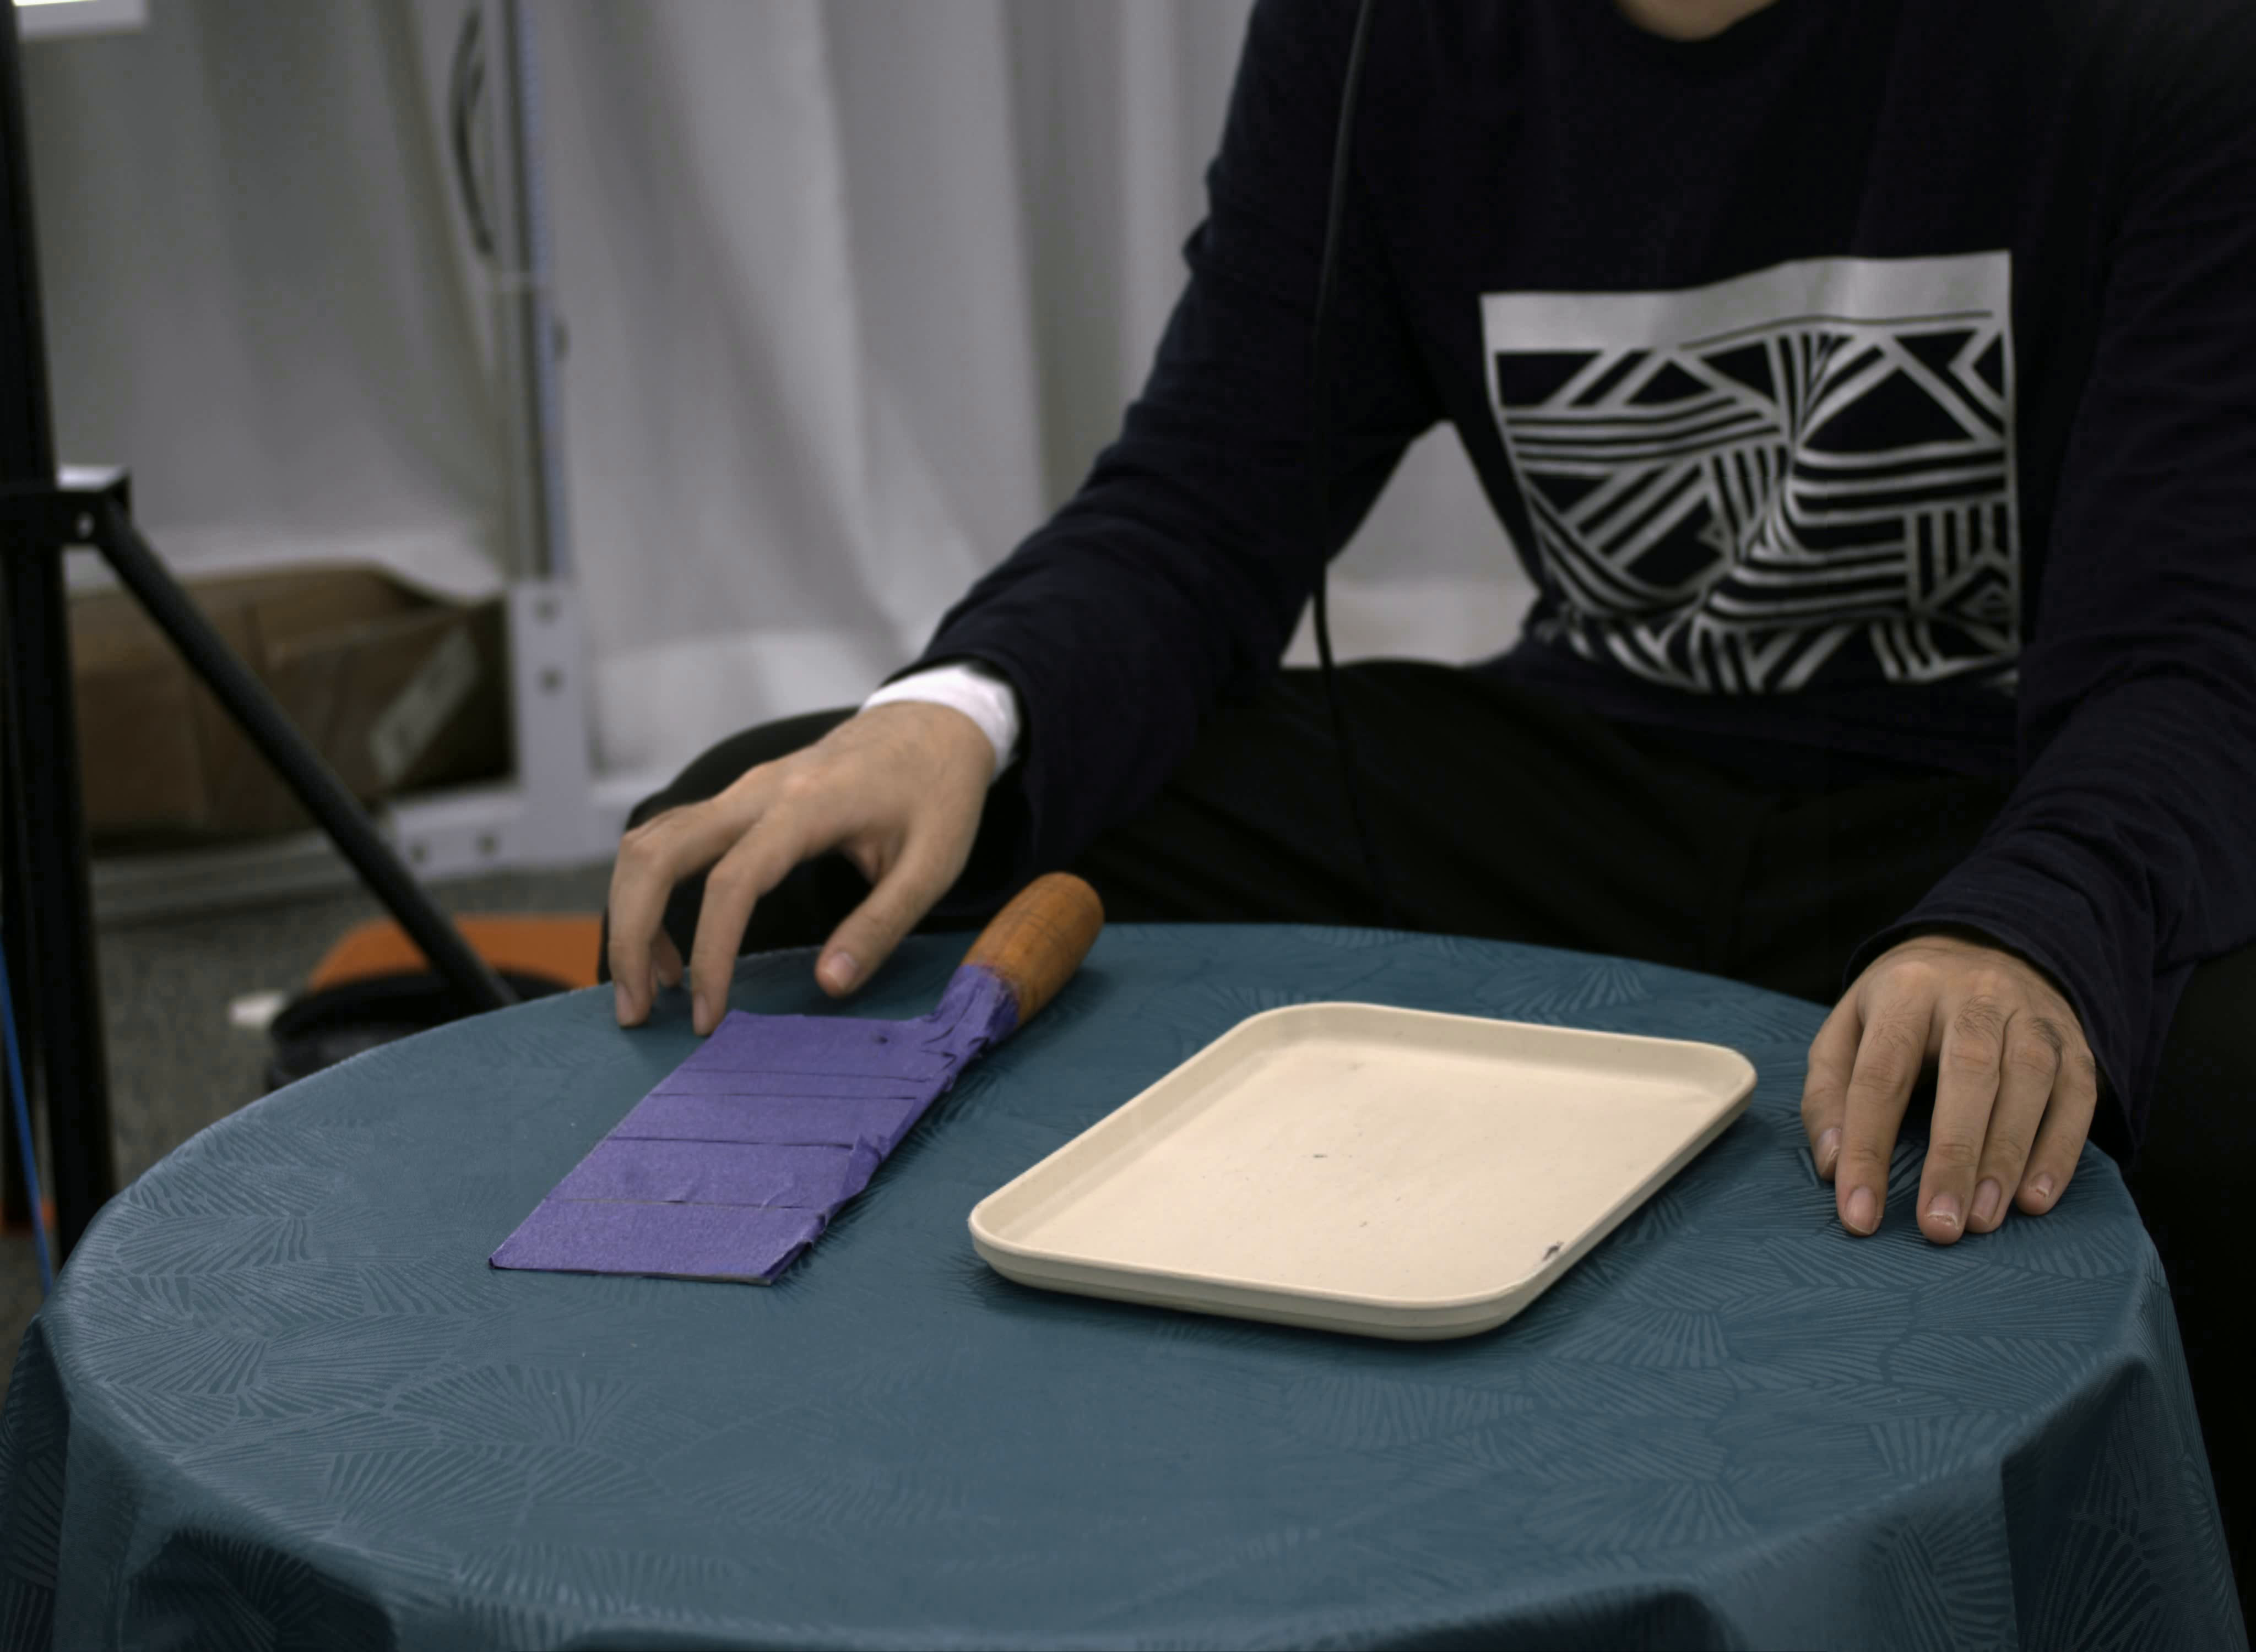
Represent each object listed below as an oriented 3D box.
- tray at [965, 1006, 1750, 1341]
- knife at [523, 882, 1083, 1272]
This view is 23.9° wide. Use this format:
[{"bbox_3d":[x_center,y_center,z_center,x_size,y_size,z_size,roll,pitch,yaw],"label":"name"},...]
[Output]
[{"bbox_3d":[0.071,0.100,1.548,0.174,0.017,0.236,5,17,27],"label":"tray"},{"bbox_3d":[-0.097,0.074,1.647,0.105,0.032,0.312,2,17,16],"label":"knife"}]
